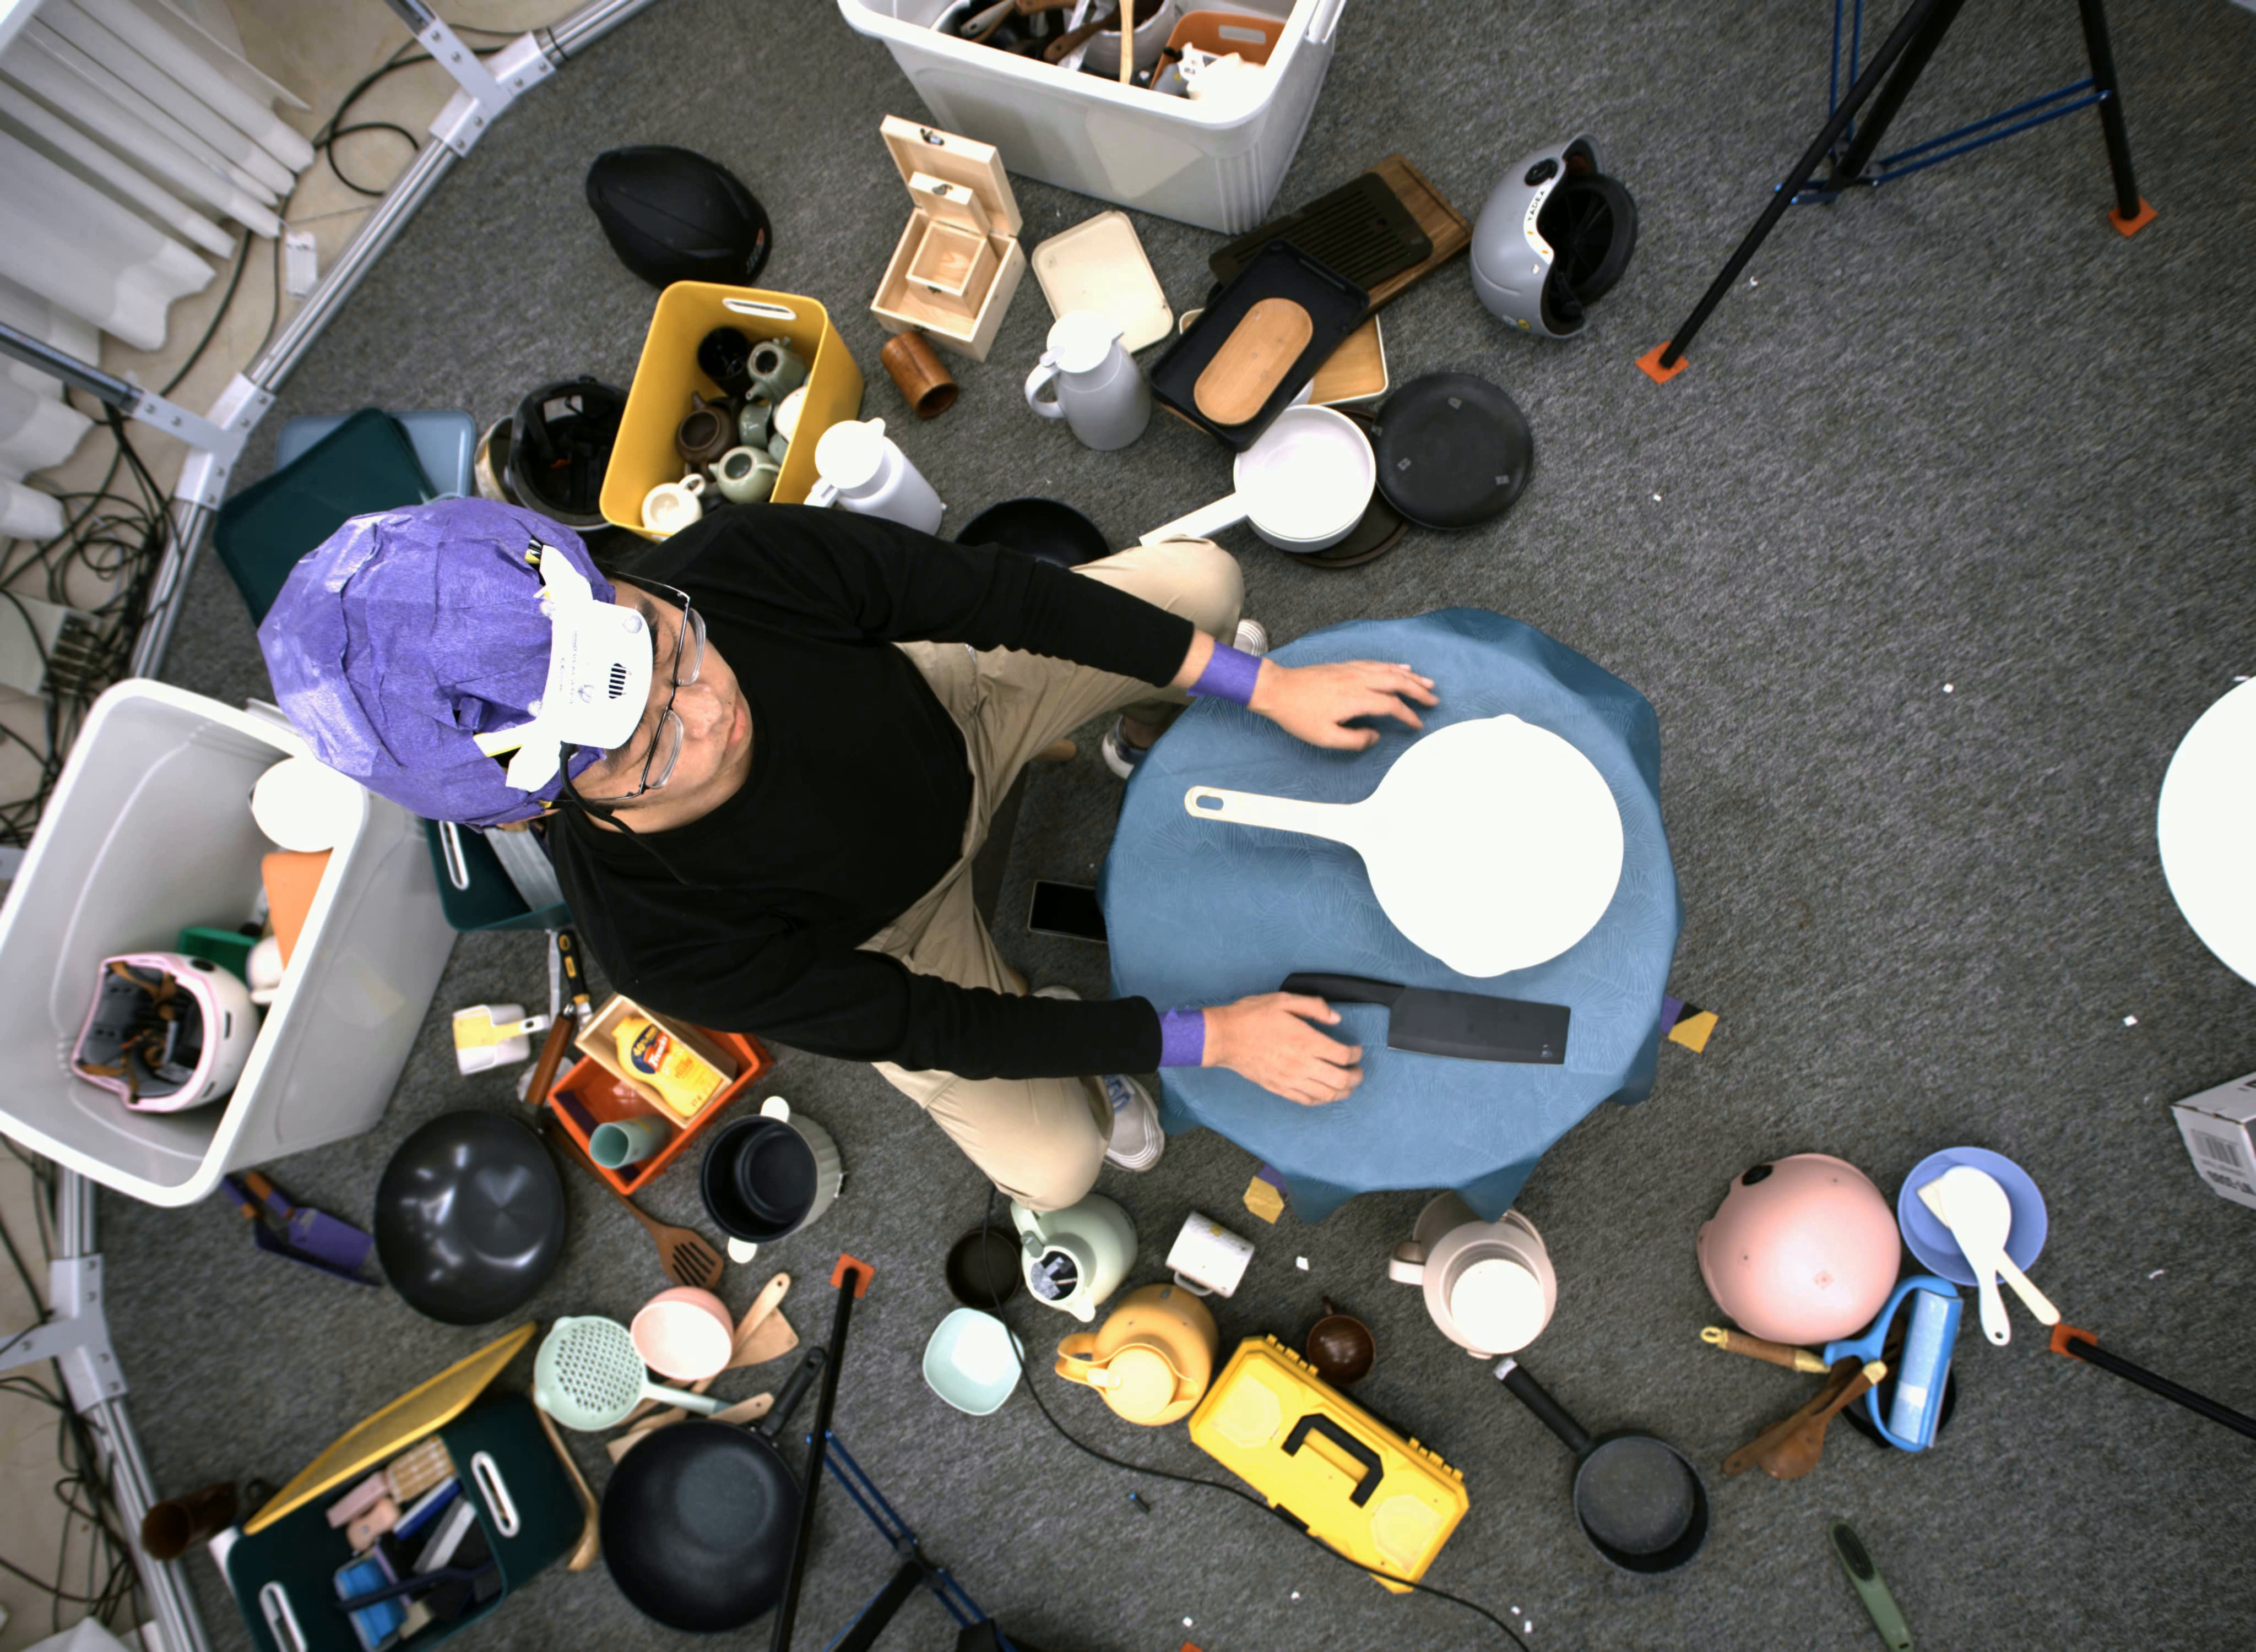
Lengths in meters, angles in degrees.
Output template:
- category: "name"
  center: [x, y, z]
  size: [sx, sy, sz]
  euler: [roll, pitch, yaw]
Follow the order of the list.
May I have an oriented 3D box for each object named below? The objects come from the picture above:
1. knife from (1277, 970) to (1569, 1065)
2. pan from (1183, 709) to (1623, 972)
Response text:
- category: "knife"
  center: [0.306, 0.195, 1.442]
  size: [0.303, 0.021, 0.081]
  euler: [11, 90, 9]
- category: "pan"
  center: [0.277, 0.003, 1.413]
  size: [0.436, 0.102, 0.263]
  euler: [7, 90, 11]
